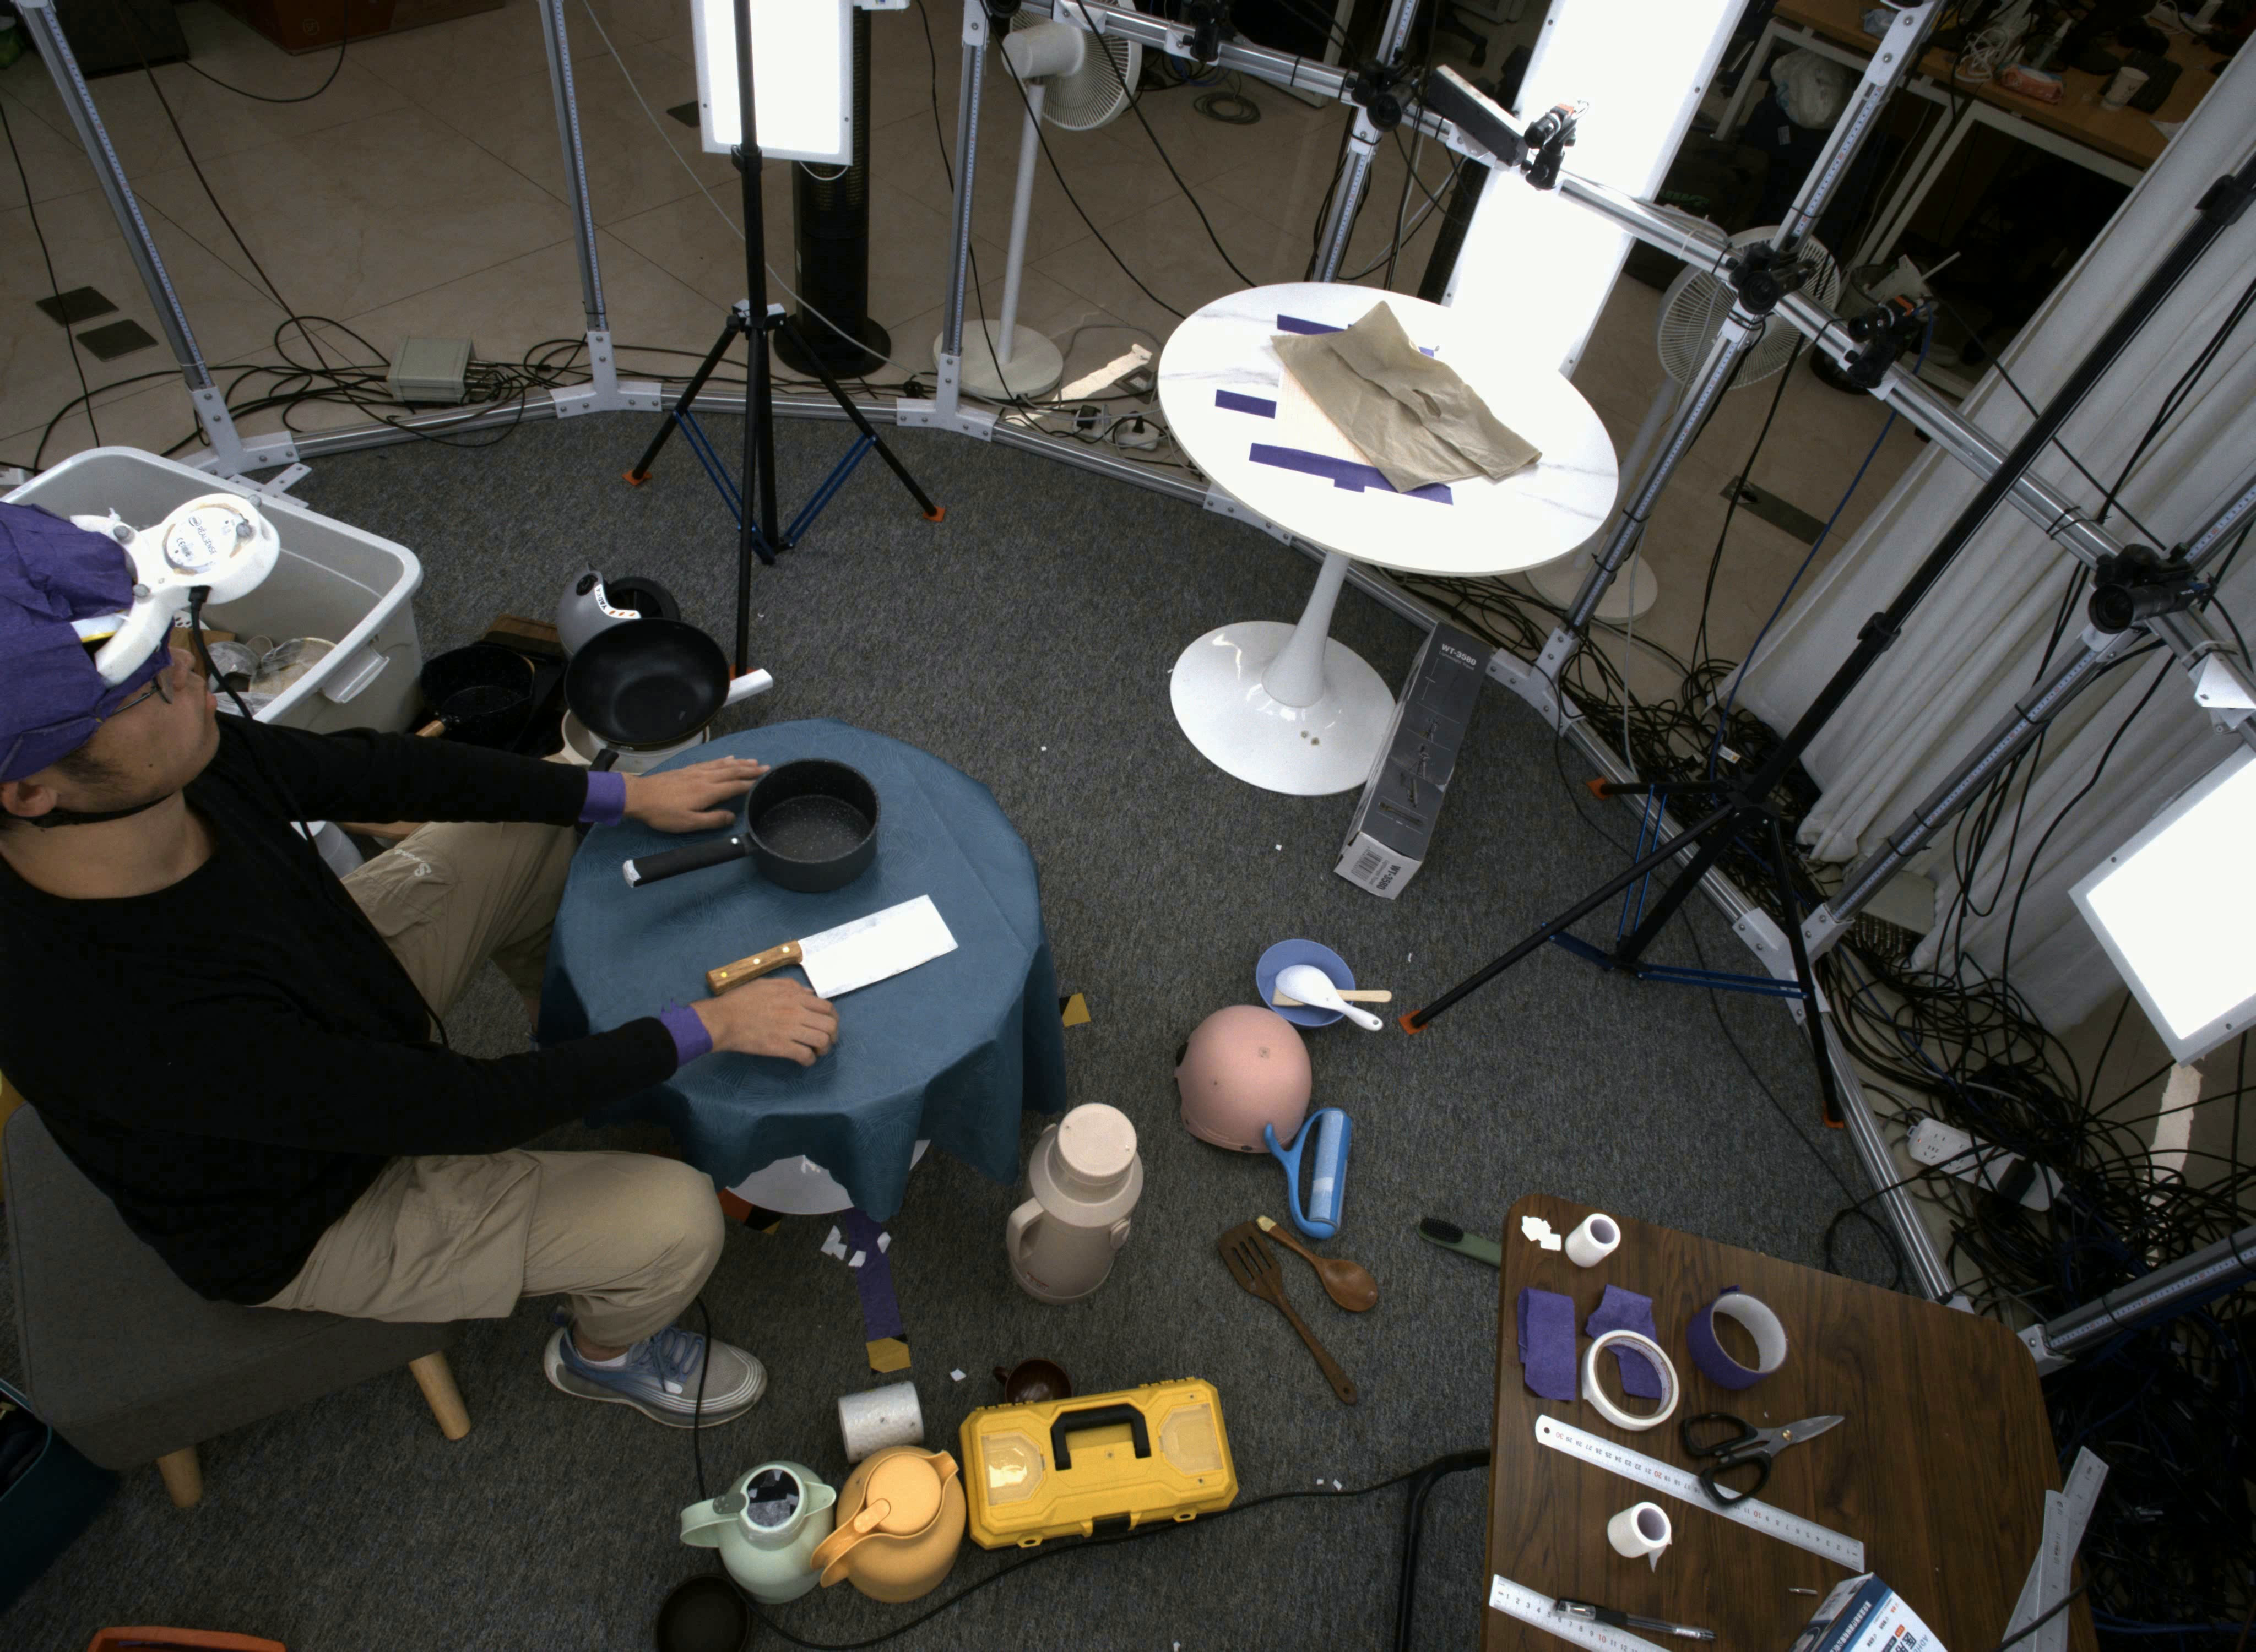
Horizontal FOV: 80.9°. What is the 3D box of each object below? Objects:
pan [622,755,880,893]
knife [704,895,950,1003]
[{"bbox_3d":[-0.474,0.022,1.639,0.330,0.088,0.167,-20,60,-27],"label":"pan"},{"bbox_3d":[-0.364,0.164,1.604,0.307,0.021,0.091,-21,63,-29],"label":"knife"}]
